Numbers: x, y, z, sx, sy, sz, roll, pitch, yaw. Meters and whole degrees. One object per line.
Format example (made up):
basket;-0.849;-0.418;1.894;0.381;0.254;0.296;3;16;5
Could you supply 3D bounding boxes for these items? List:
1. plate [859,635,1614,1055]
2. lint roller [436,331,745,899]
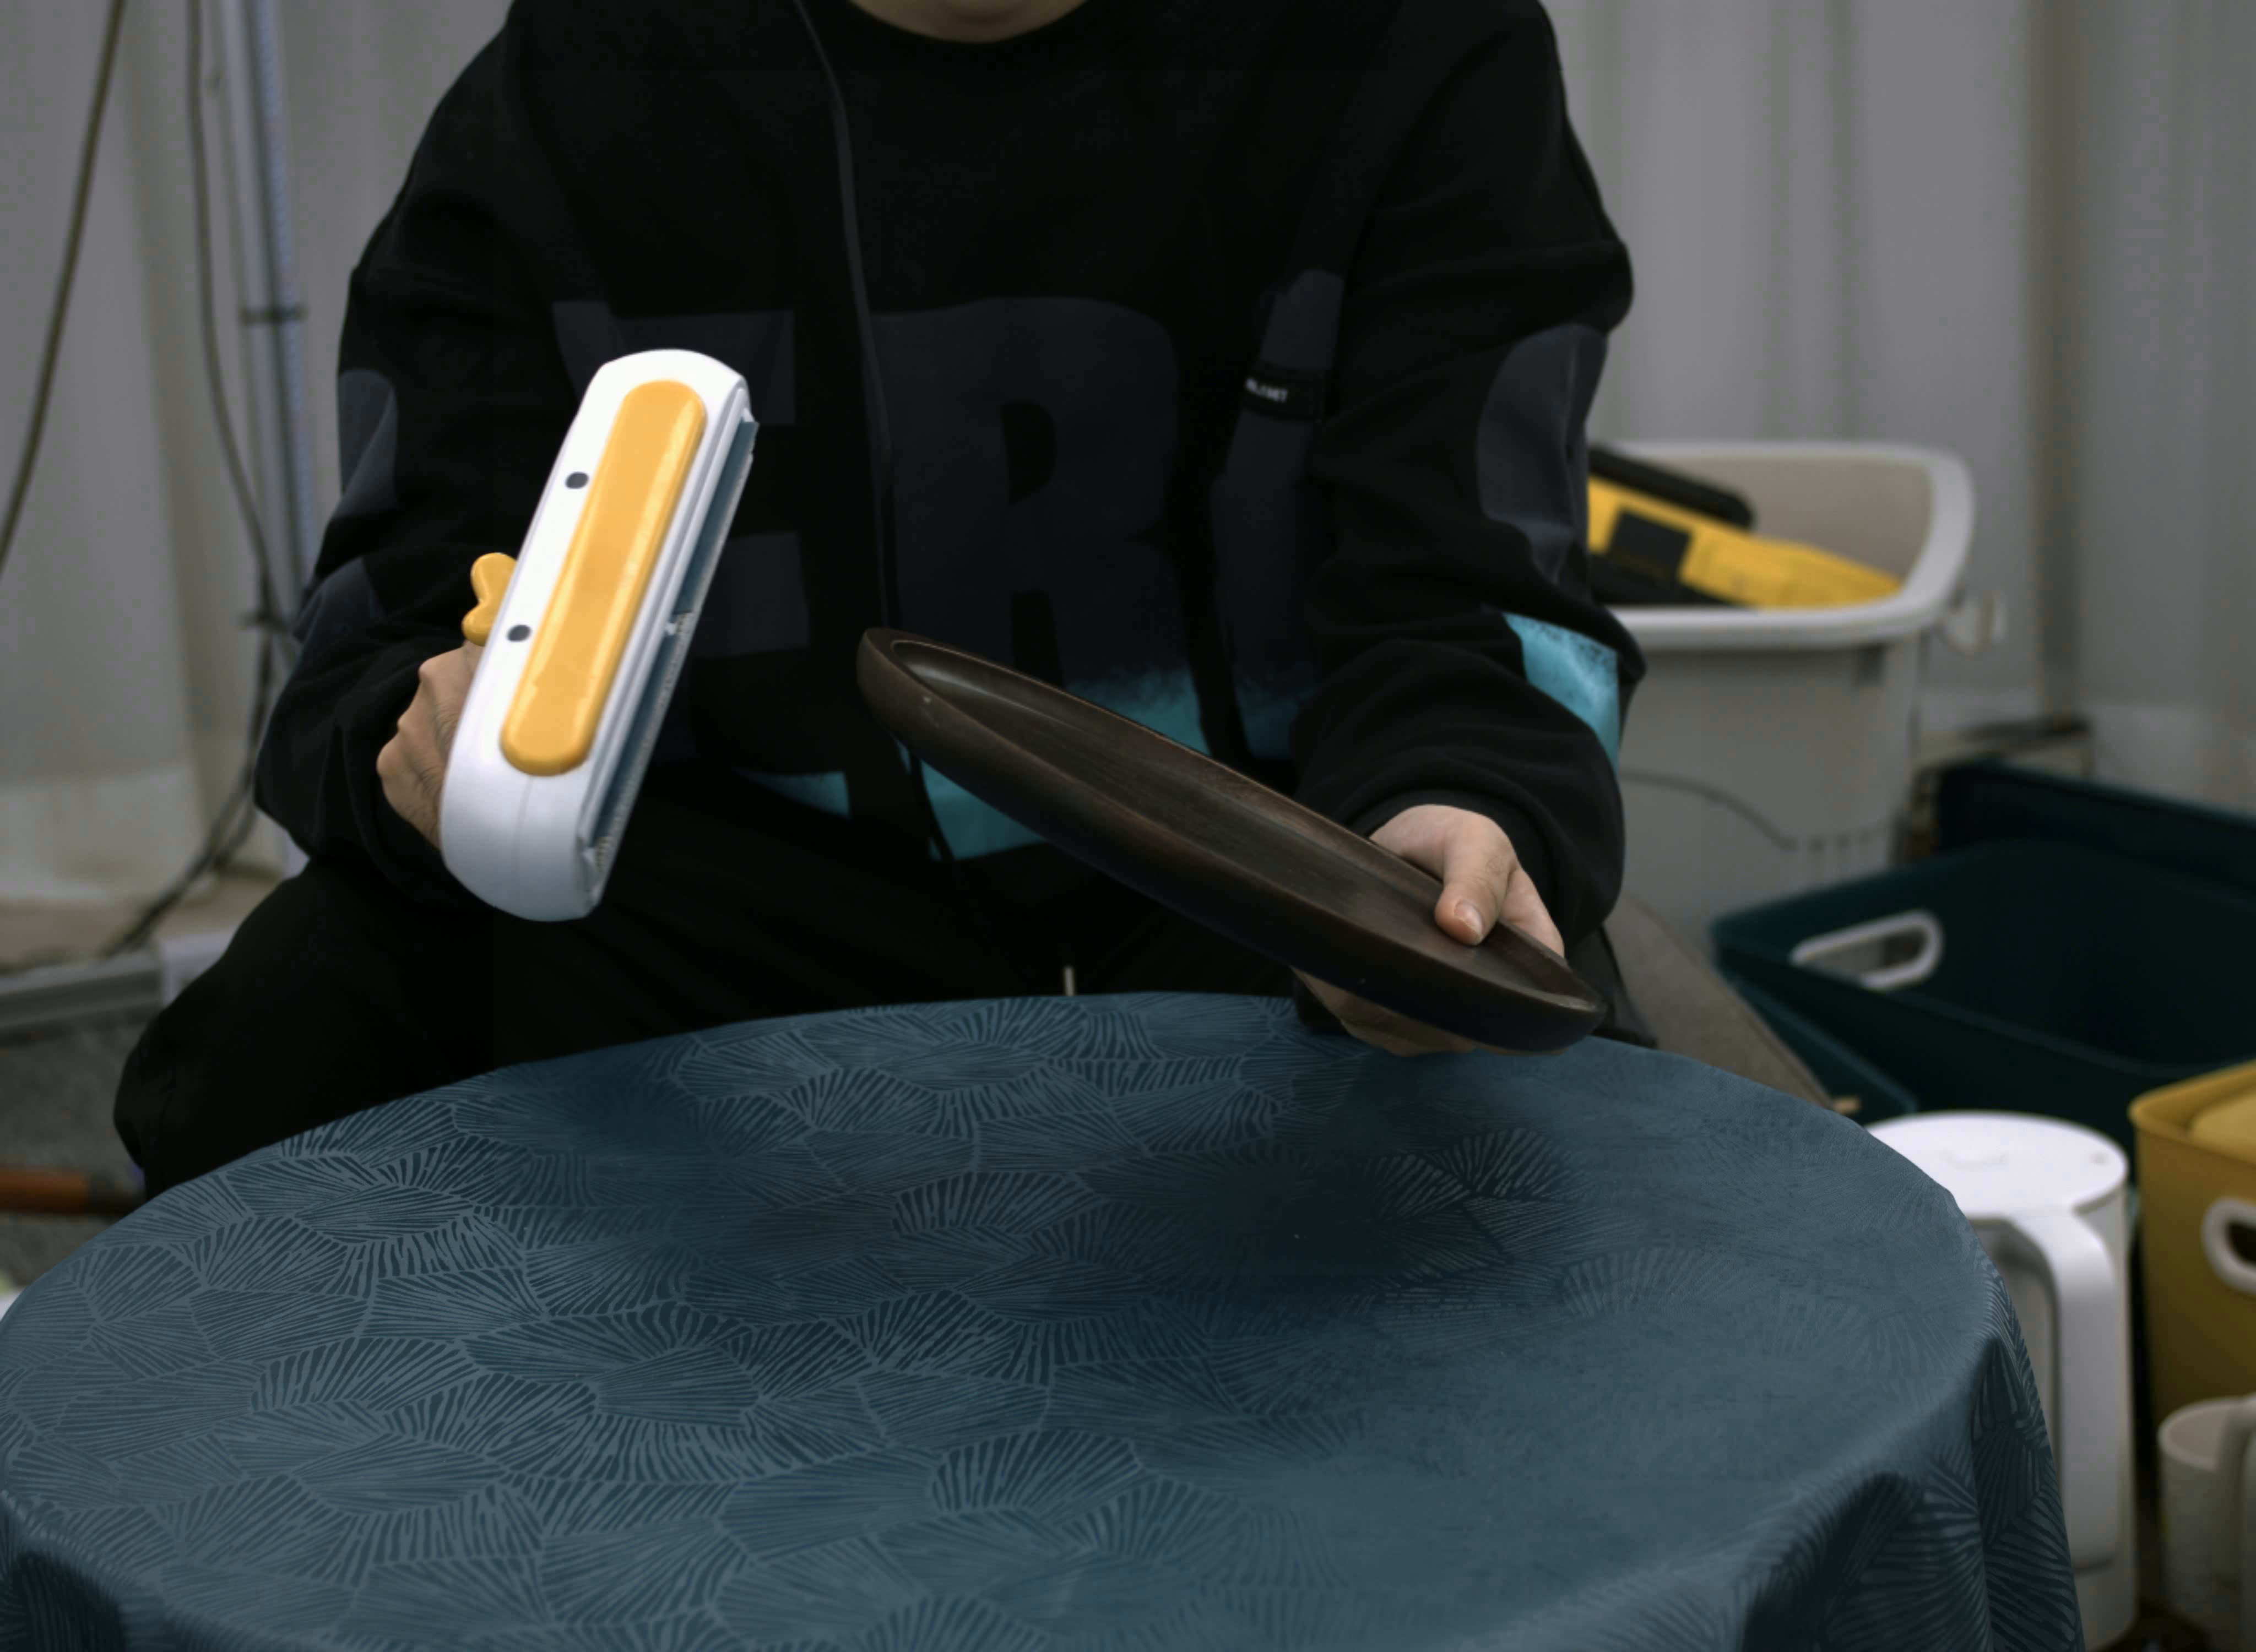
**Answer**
plate;0.030;0.006;1.653;0.254;0.029;0.255;28;5;-2
lint roller;-0.179;-0.037;1.728;0.074;0.190;0.195;13;55;-2
